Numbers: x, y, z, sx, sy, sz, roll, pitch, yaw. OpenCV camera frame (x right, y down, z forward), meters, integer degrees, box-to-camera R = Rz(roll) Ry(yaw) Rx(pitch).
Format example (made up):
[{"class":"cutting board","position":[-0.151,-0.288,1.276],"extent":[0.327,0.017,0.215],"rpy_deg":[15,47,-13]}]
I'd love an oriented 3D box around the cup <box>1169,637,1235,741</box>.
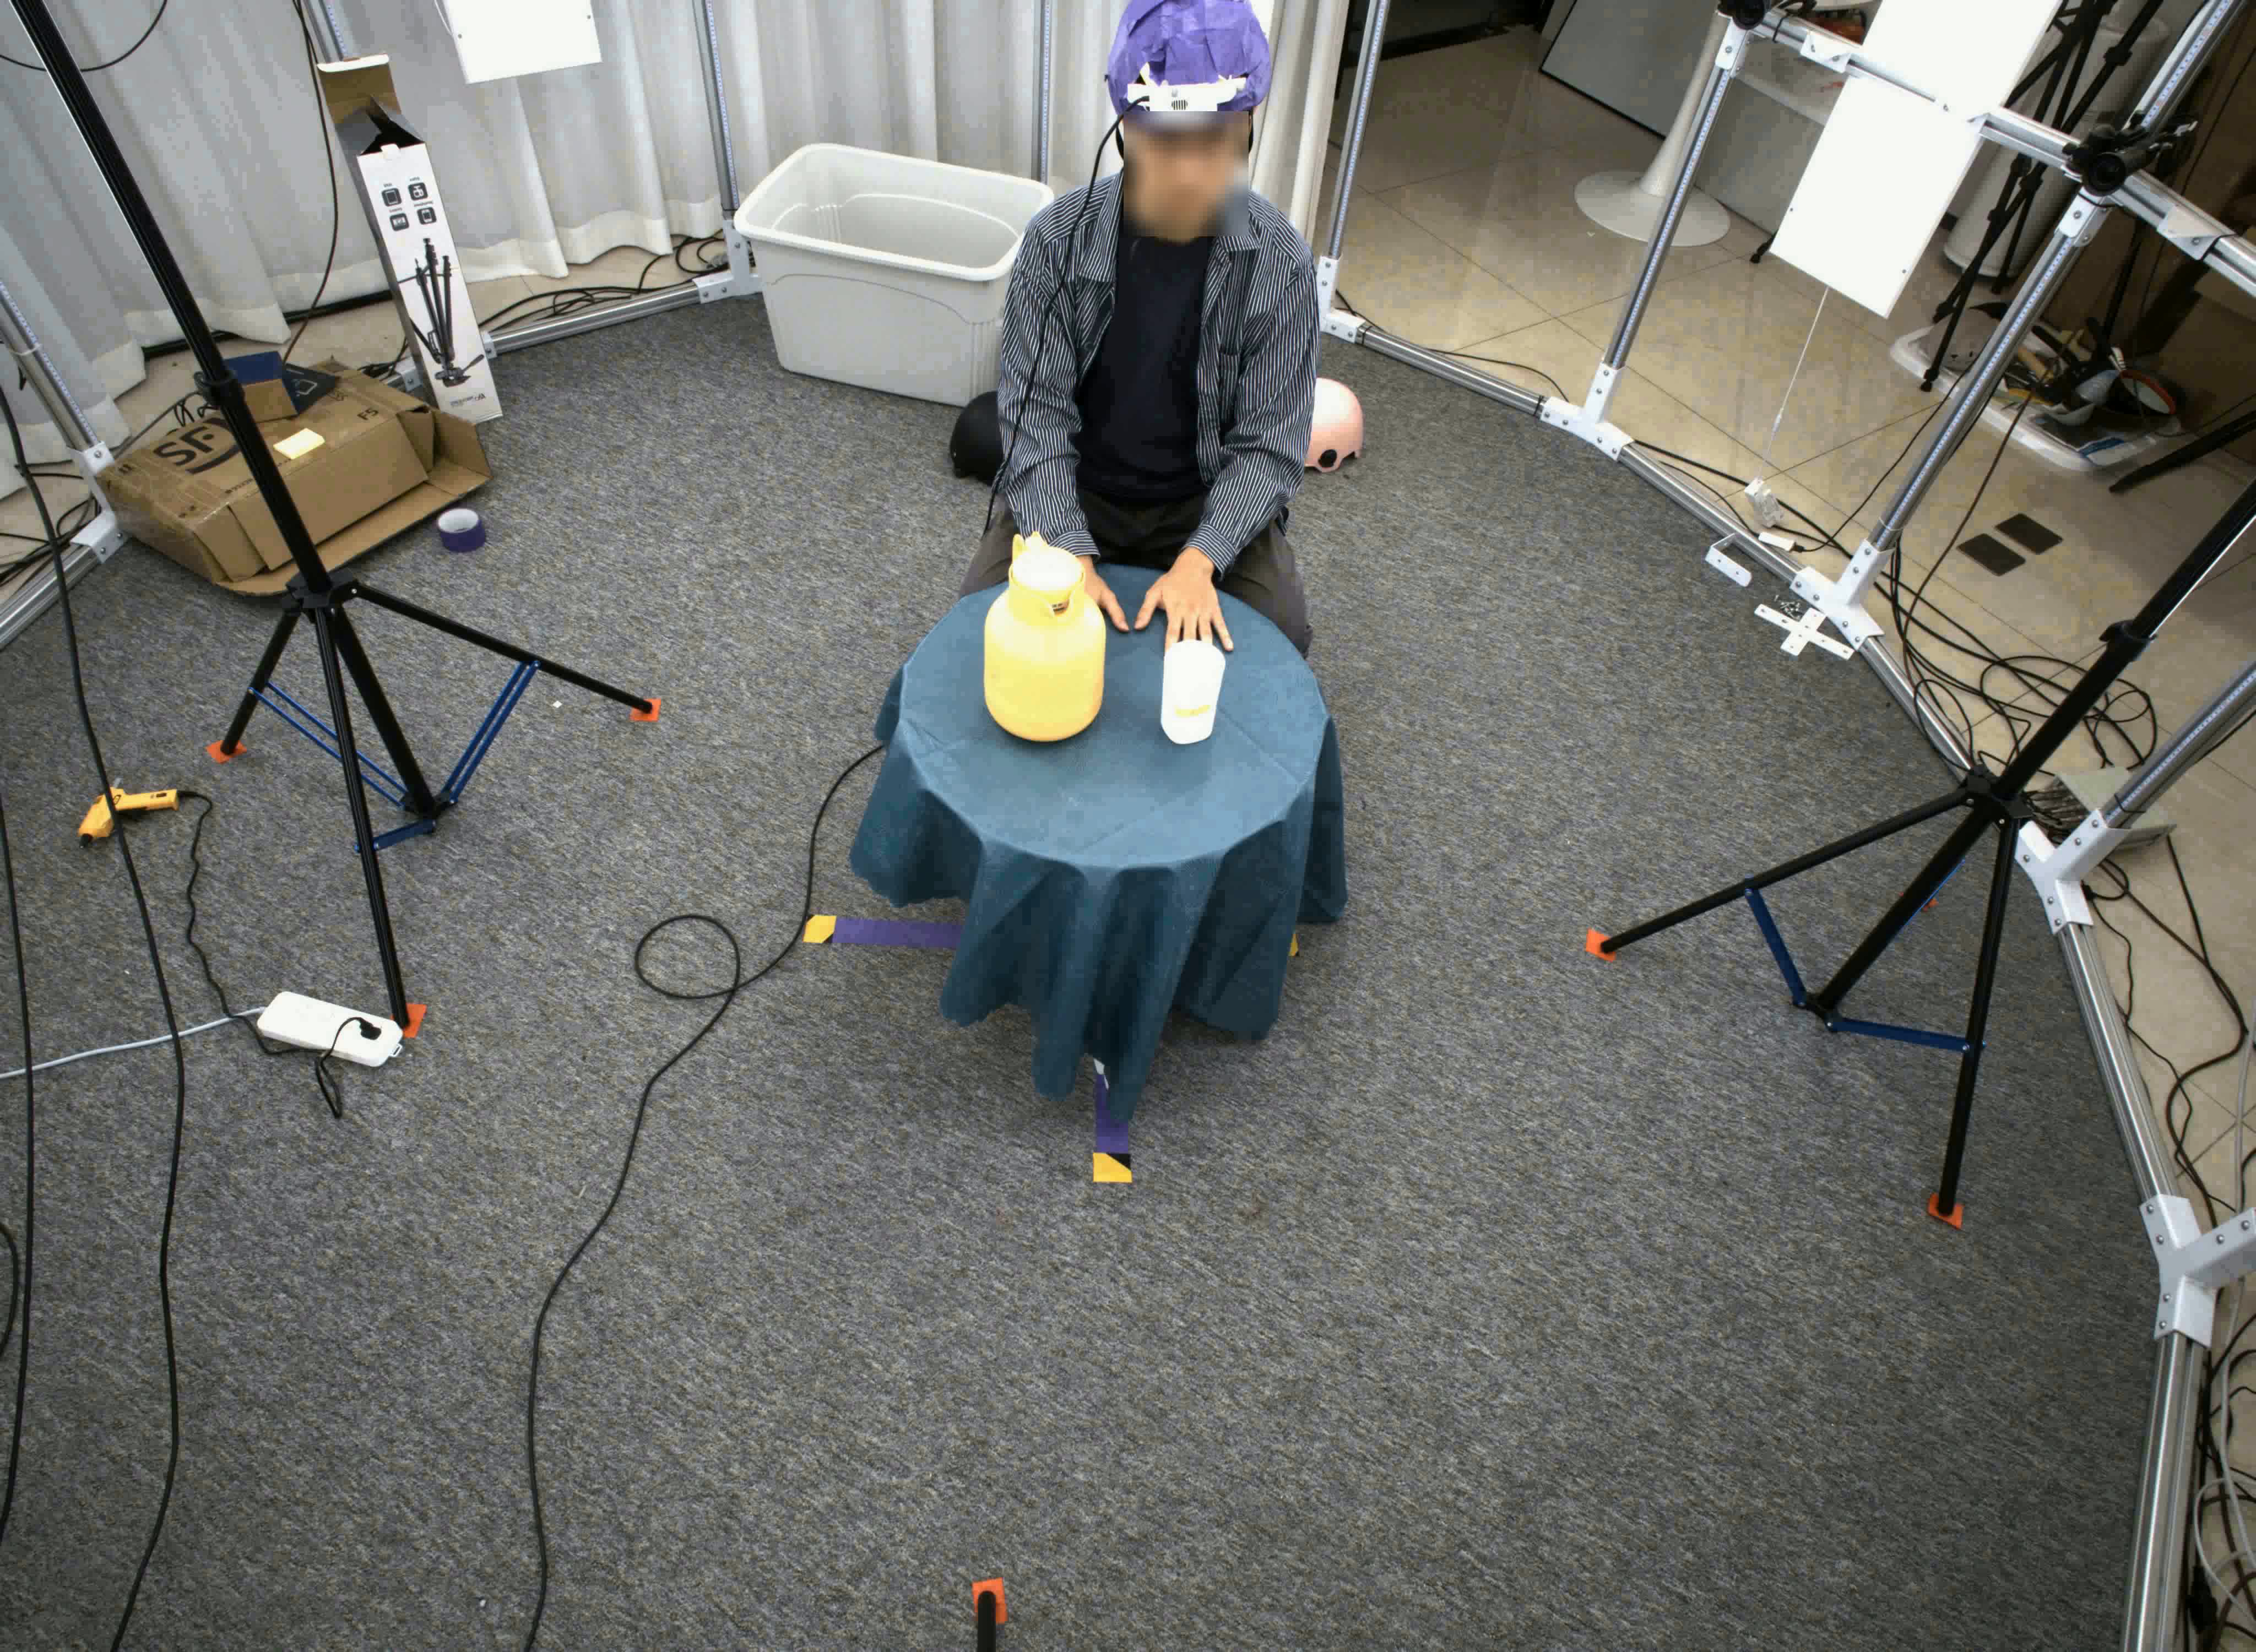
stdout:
[{"class":"cup","position":[0.098,-0.183,1.742],"extent":[0.081,0.122,0.084],"rpy_deg":[2,48,-3]}]

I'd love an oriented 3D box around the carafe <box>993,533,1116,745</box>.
[{"class":"carafe","position":[-0.102,-0.255,1.704],"extent":[0.163,0.254,0.207],"rpy_deg":[-13,52,-17]}]
